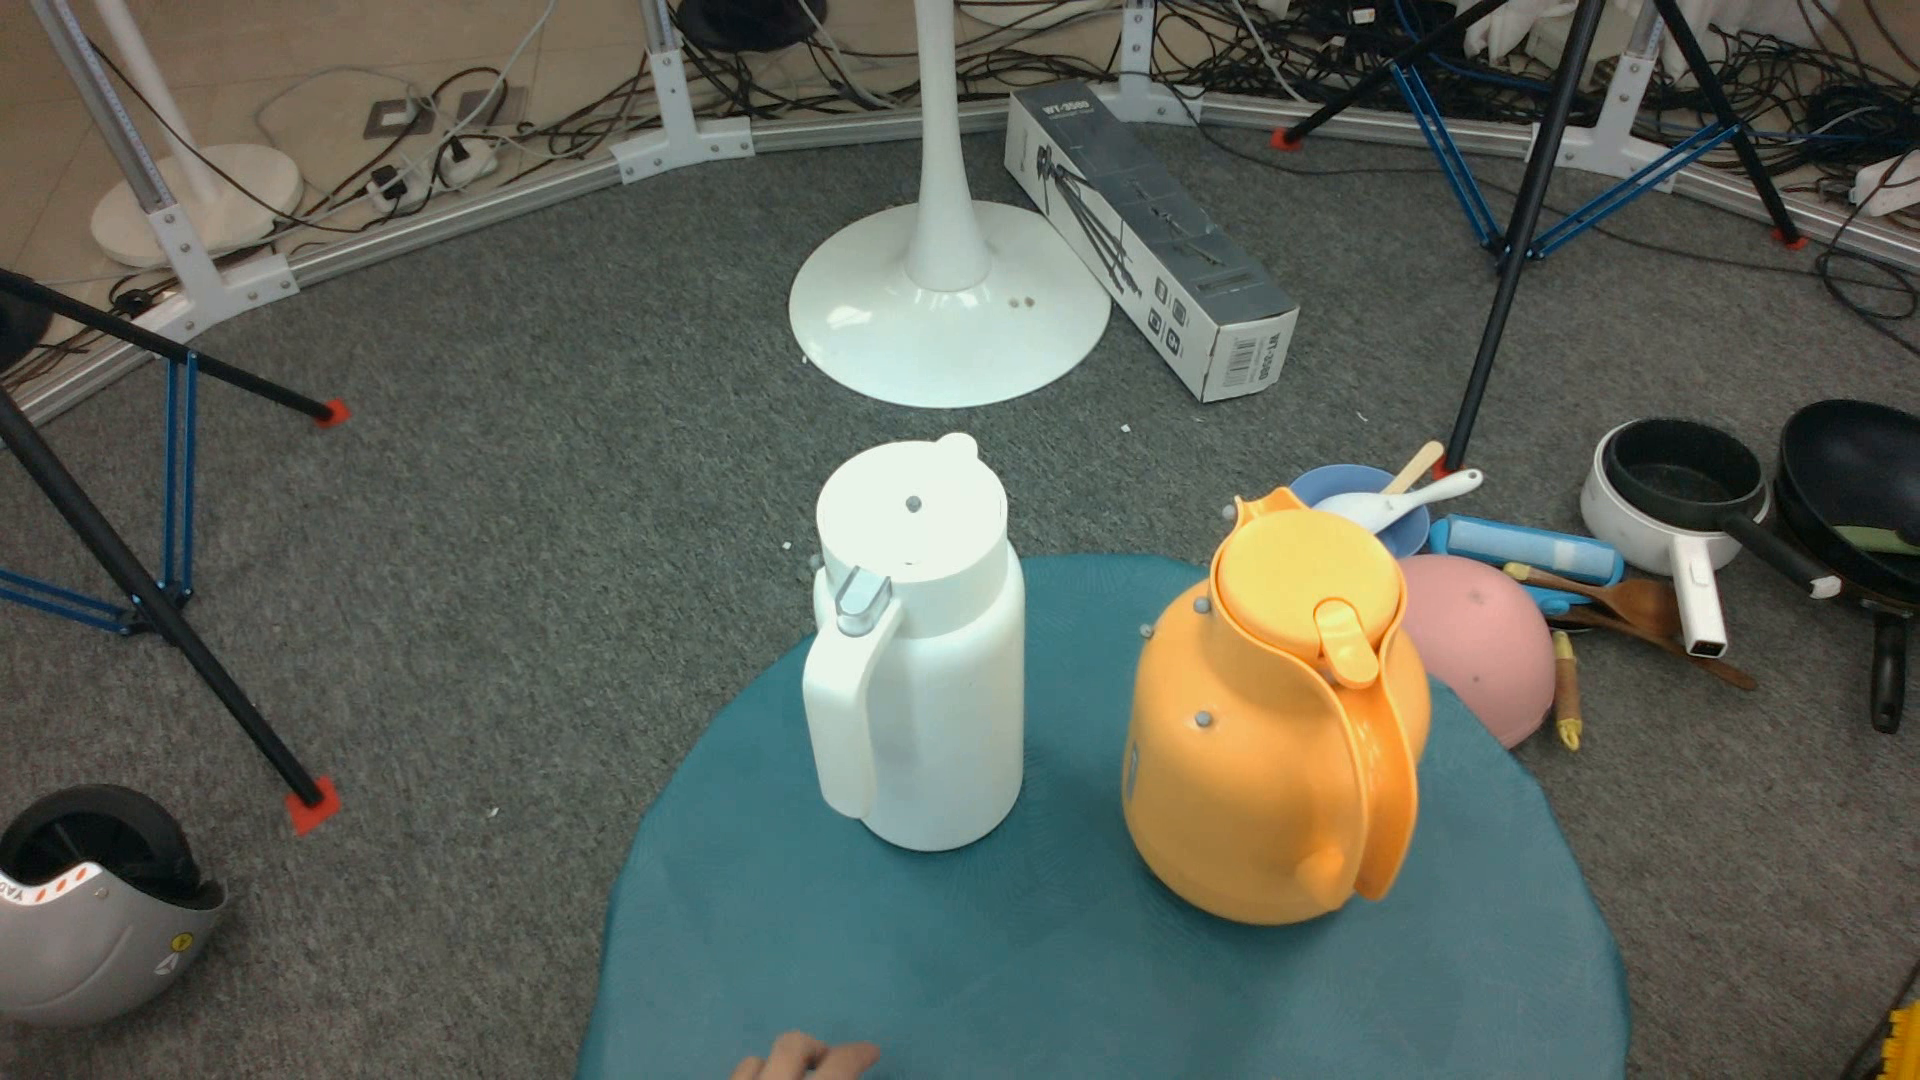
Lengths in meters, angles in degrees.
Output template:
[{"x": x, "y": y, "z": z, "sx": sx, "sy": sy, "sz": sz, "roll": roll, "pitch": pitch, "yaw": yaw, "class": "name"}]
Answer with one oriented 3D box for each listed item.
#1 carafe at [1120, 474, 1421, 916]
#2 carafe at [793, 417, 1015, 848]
[{"x": 0.177, "y": 0.105, "z": 0.766, "sx": 0.163, "sy": 0.259, "sz": 0.203, "roll": -11, "pitch": 48, "yaw": -4, "class": "carafe"}, {"x": -0.033, "y": 0.078, "z": 0.791, "sx": 0.124, "sy": 0.267, "sz": 0.174, "roll": 18, "pitch": 52, "yaw": 14, "class": "carafe"}]
